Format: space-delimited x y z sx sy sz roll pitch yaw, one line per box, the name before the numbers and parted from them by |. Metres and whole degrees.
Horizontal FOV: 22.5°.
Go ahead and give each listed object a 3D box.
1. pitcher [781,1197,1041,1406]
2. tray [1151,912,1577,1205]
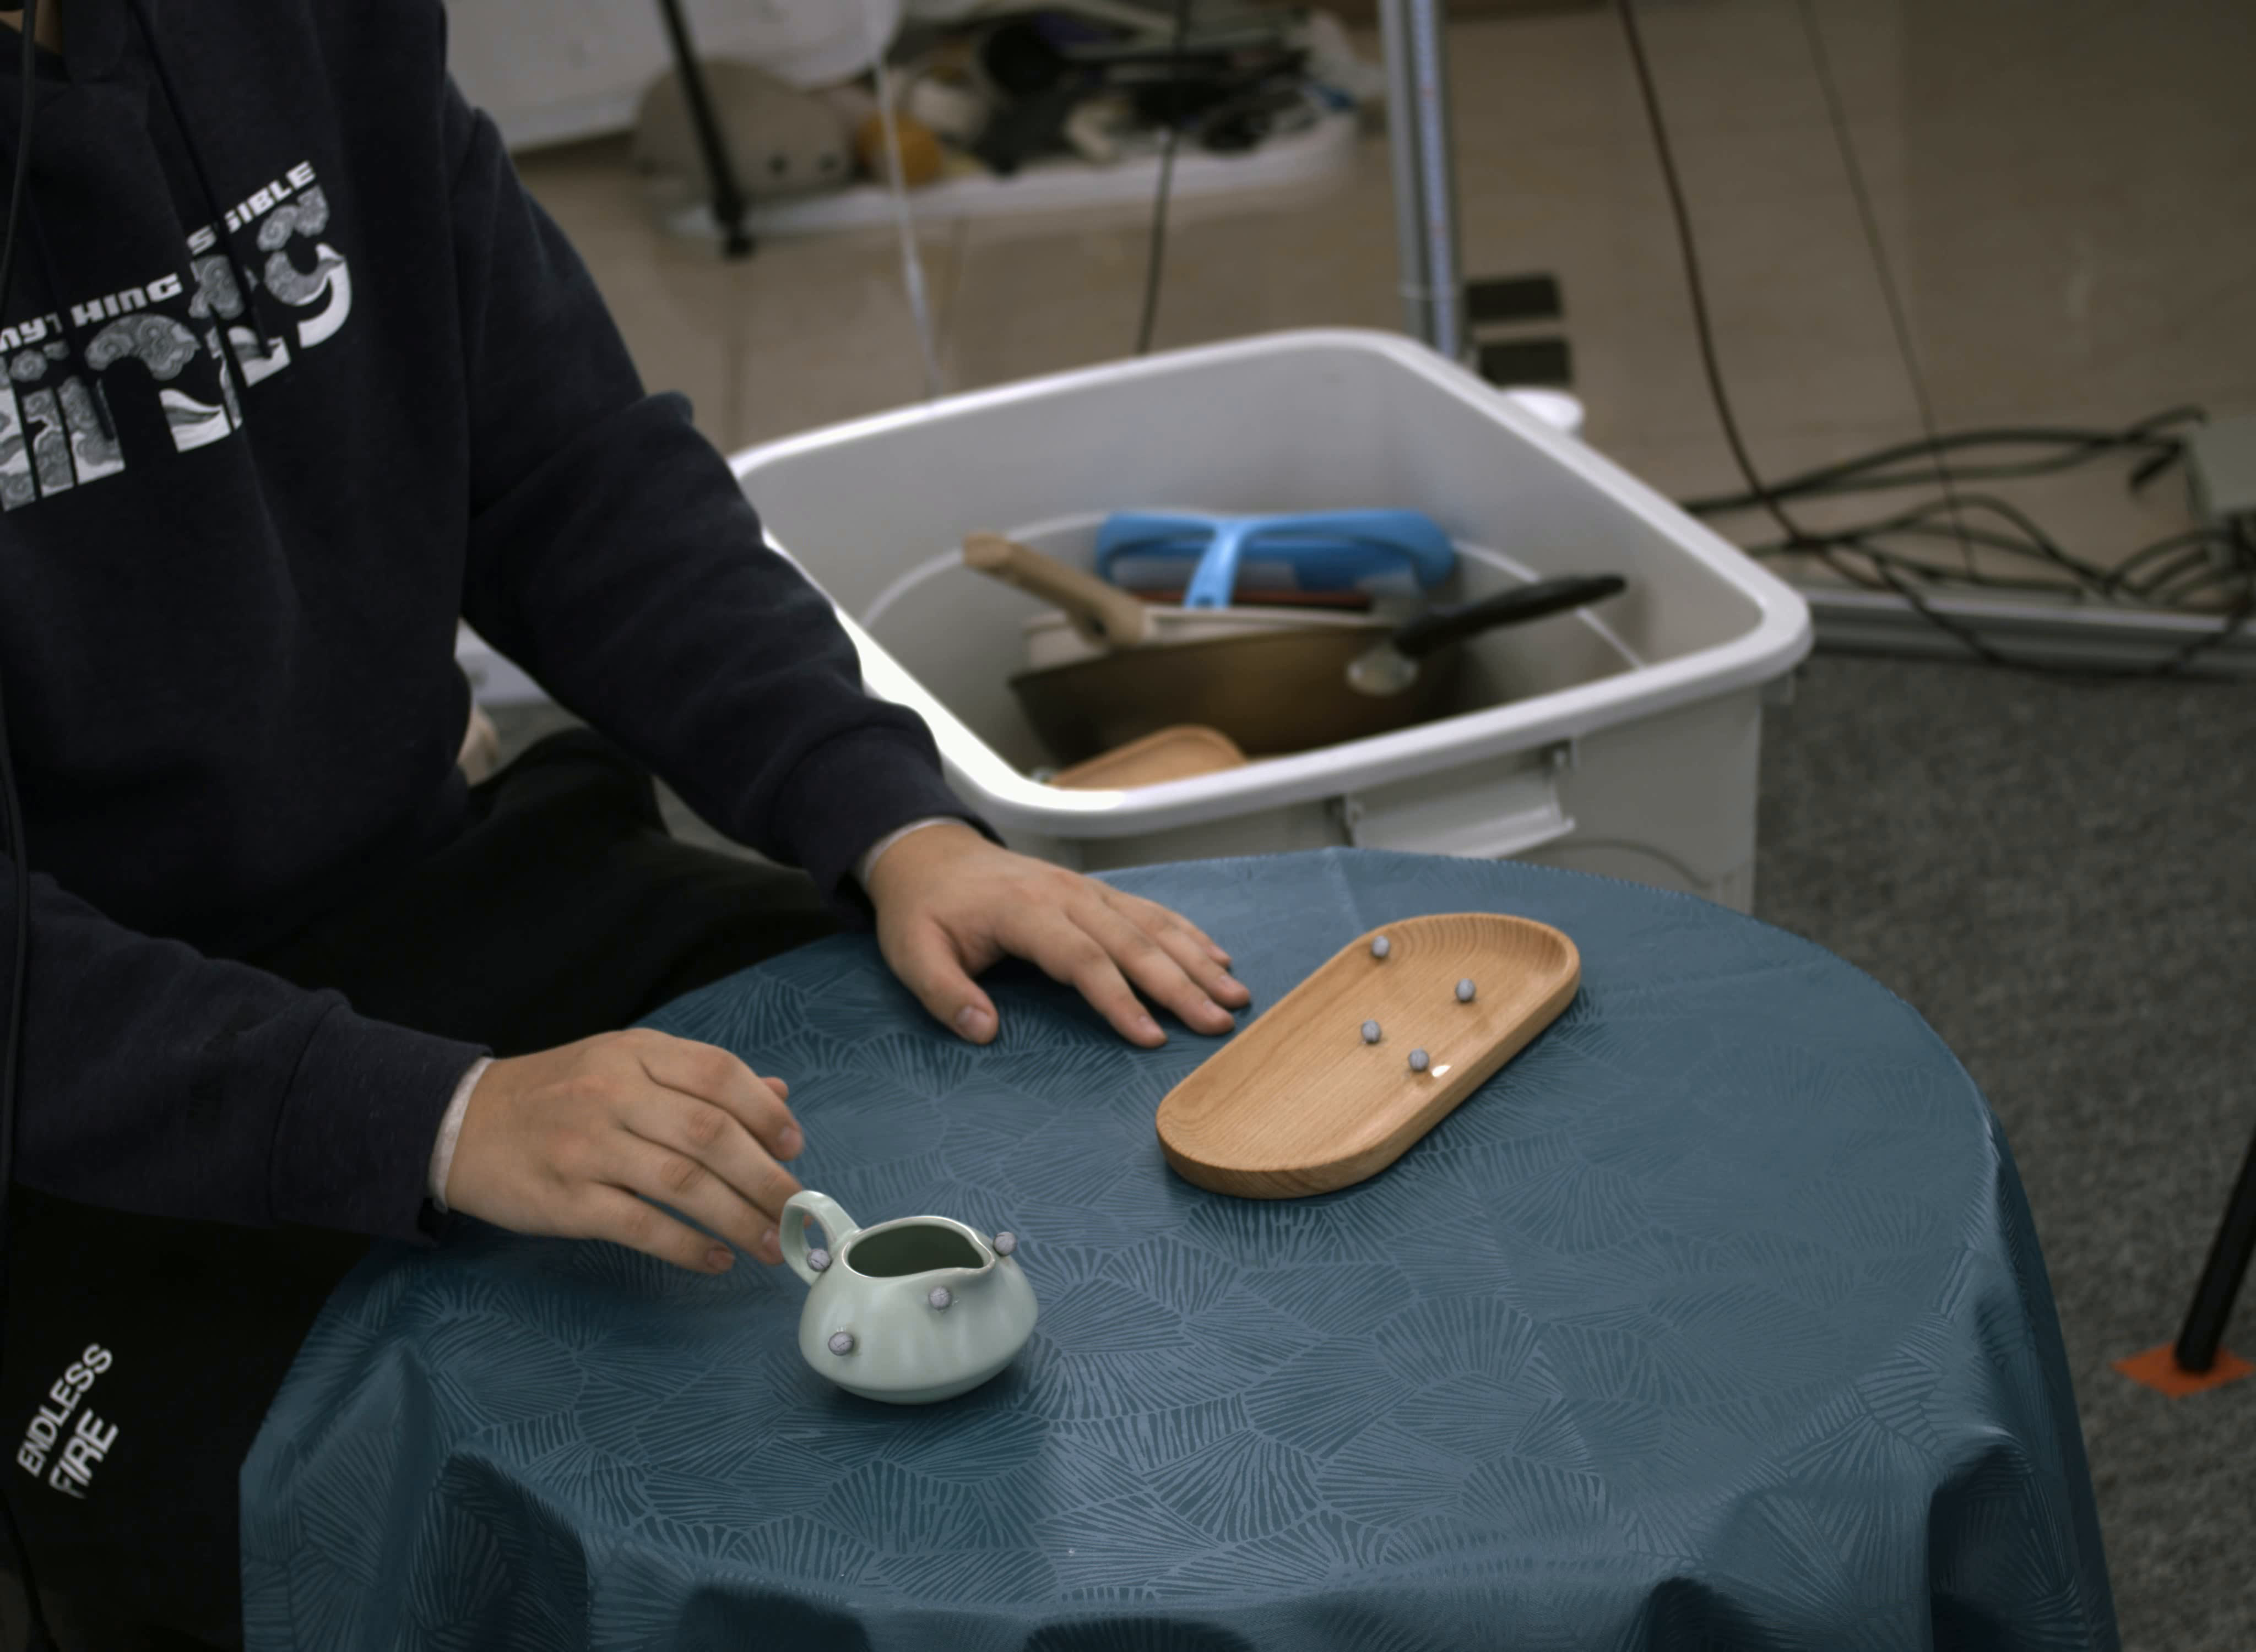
pitcher | -0.084 0.169 2.036 0.107 0.061 0.085 13 30 39
tray | 0.094 0.089 2.215 0.101 0.020 0.228 8 30 32
